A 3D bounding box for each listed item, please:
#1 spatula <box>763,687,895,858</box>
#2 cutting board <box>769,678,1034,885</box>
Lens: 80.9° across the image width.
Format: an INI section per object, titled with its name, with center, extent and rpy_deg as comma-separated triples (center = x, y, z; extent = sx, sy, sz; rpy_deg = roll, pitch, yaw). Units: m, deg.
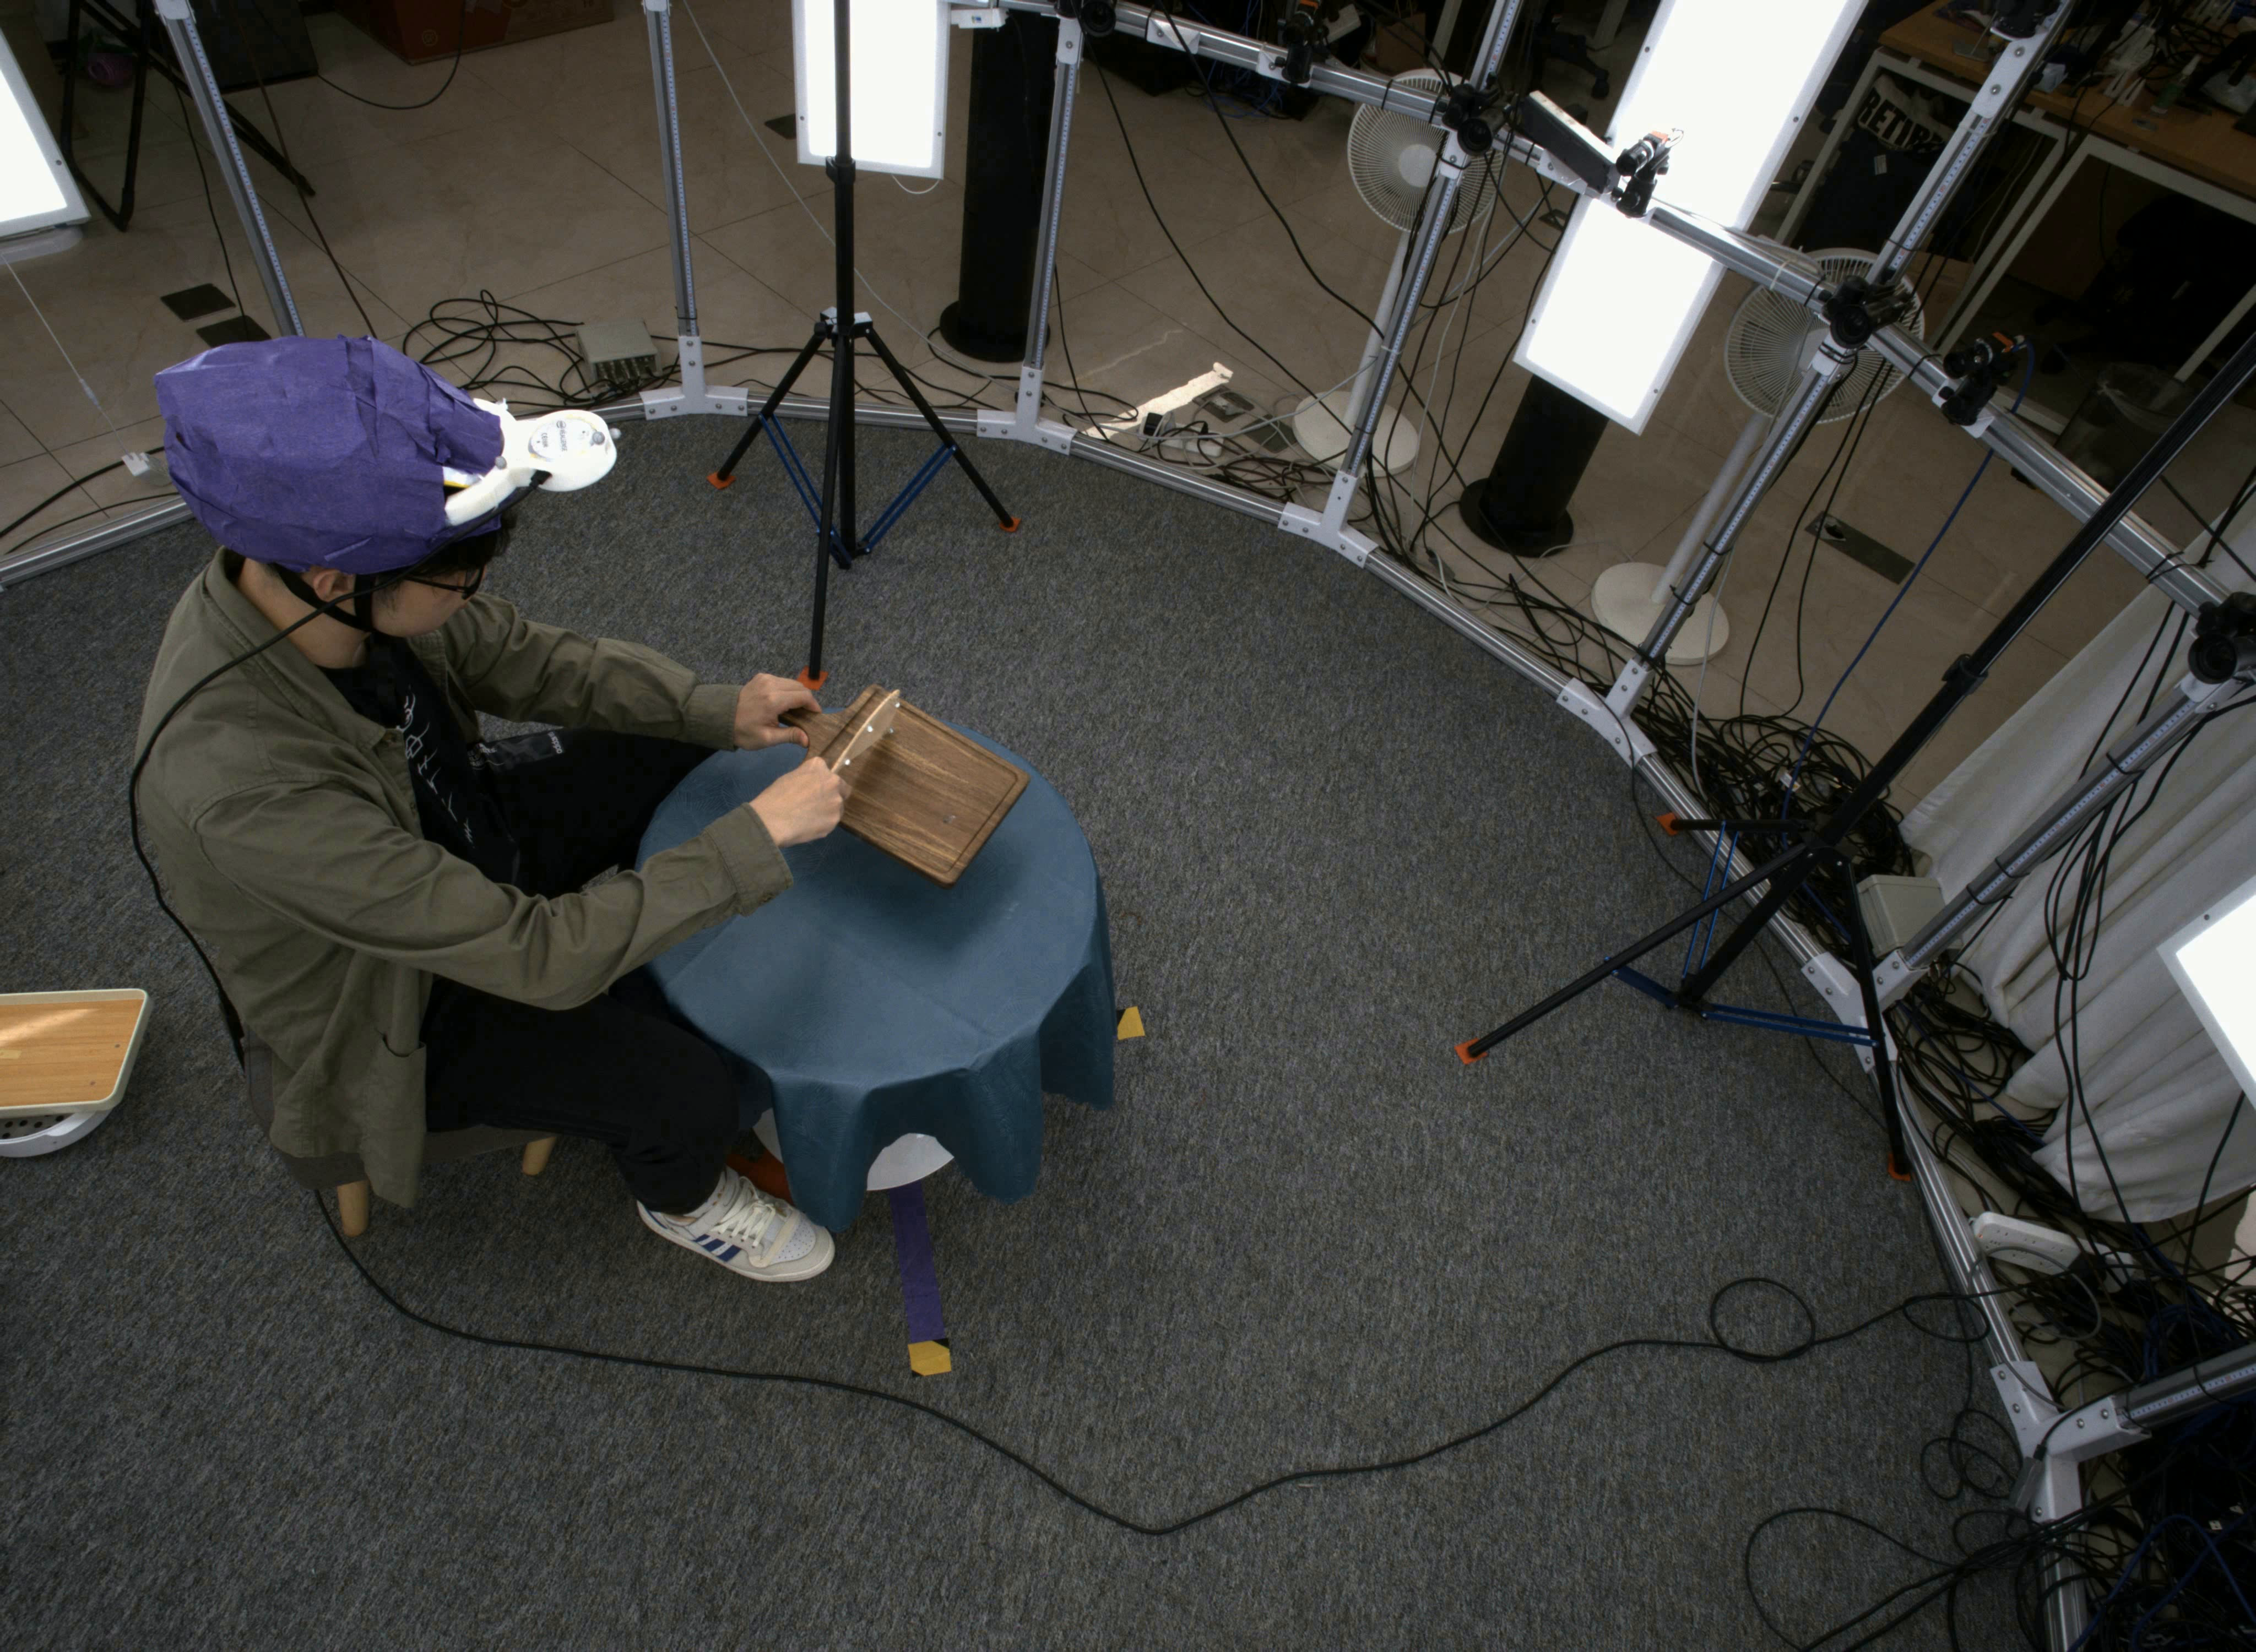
[spatula]
center = -0.348, -0.064, 1.530
extent = 0.016, 0.081, 0.324
rpy_deg = 26, 39, -1
[cutting board]
center = -0.315, -0.088, 1.675
extent = 0.349, 0.023, 0.200
rpy_deg = 32, 60, 3
